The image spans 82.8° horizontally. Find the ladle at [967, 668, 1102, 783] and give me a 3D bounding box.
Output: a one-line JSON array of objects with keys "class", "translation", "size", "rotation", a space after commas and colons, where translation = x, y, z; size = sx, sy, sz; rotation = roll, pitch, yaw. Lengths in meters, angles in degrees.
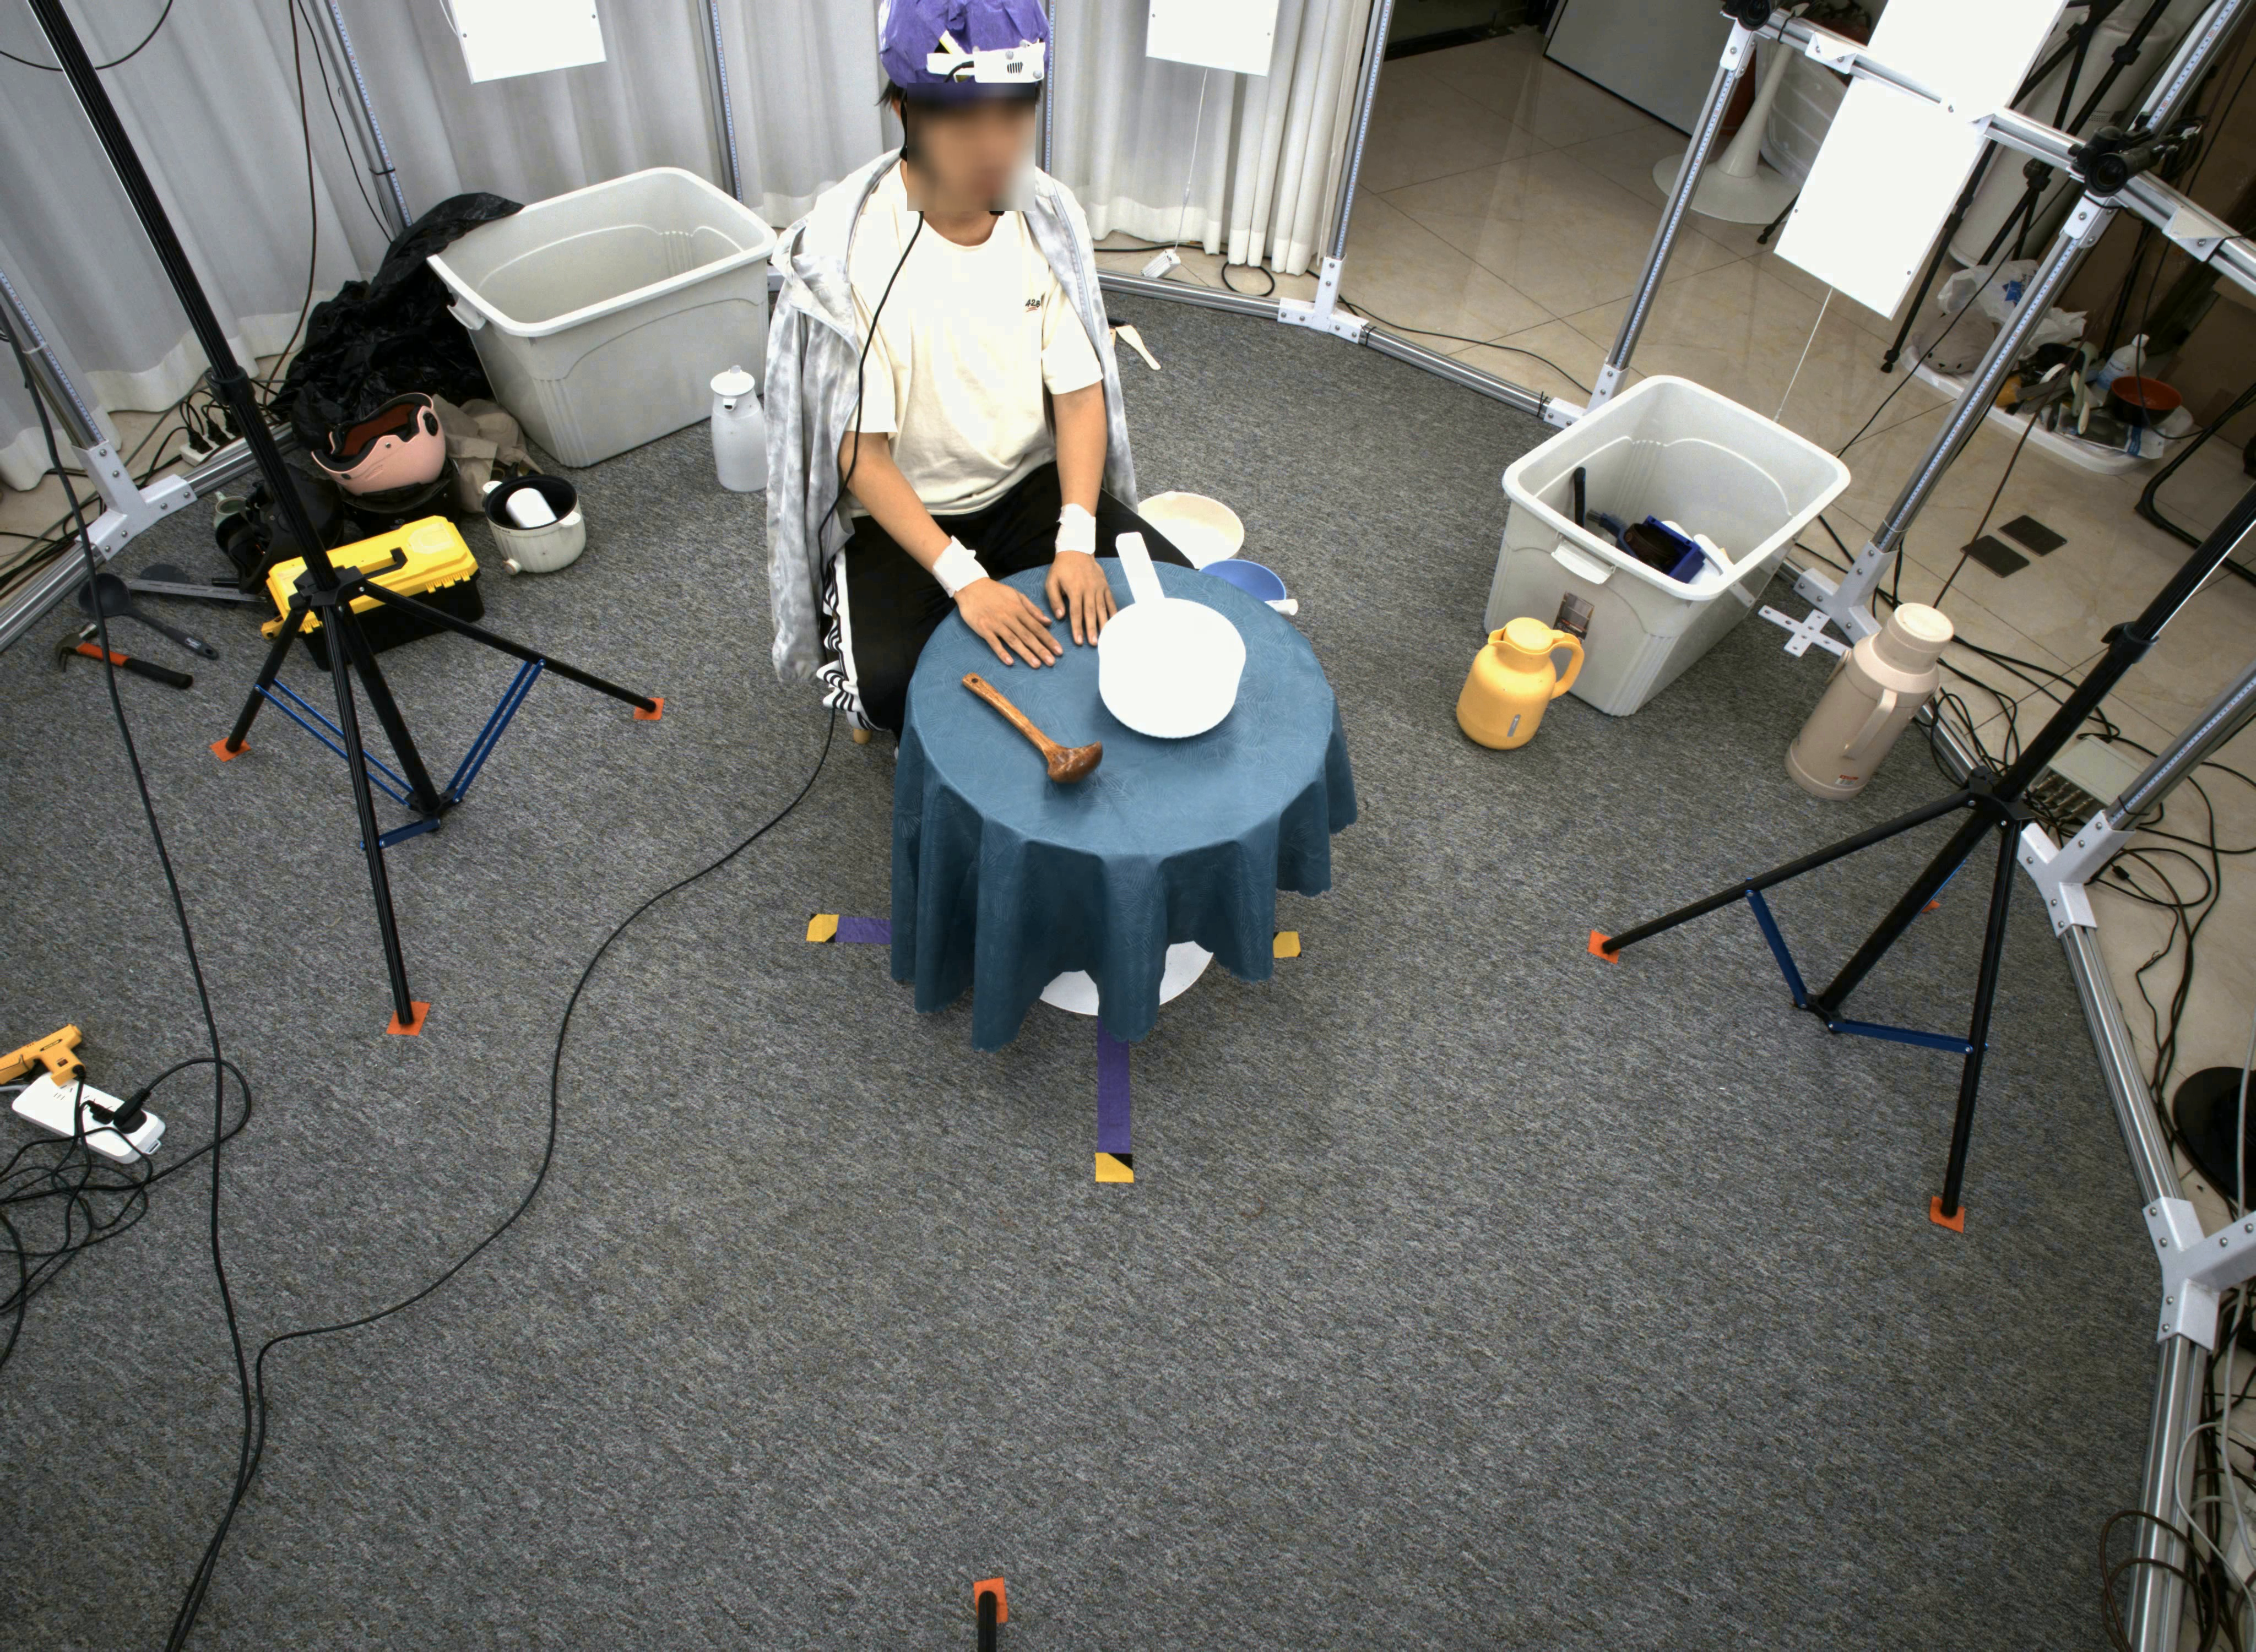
[{"class": "ladle", "translation": [-0.138, -0.151, 1.730], "size": [0.082, 0.075, 0.279], "rotation": [-30, 58, -25]}]

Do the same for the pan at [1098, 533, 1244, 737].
[{"class": "pan", "translation": [0.041, -0.274, 1.838], "size": [0.201, 0.099, 0.364], "rotation": [-8, 49, -10]}]
